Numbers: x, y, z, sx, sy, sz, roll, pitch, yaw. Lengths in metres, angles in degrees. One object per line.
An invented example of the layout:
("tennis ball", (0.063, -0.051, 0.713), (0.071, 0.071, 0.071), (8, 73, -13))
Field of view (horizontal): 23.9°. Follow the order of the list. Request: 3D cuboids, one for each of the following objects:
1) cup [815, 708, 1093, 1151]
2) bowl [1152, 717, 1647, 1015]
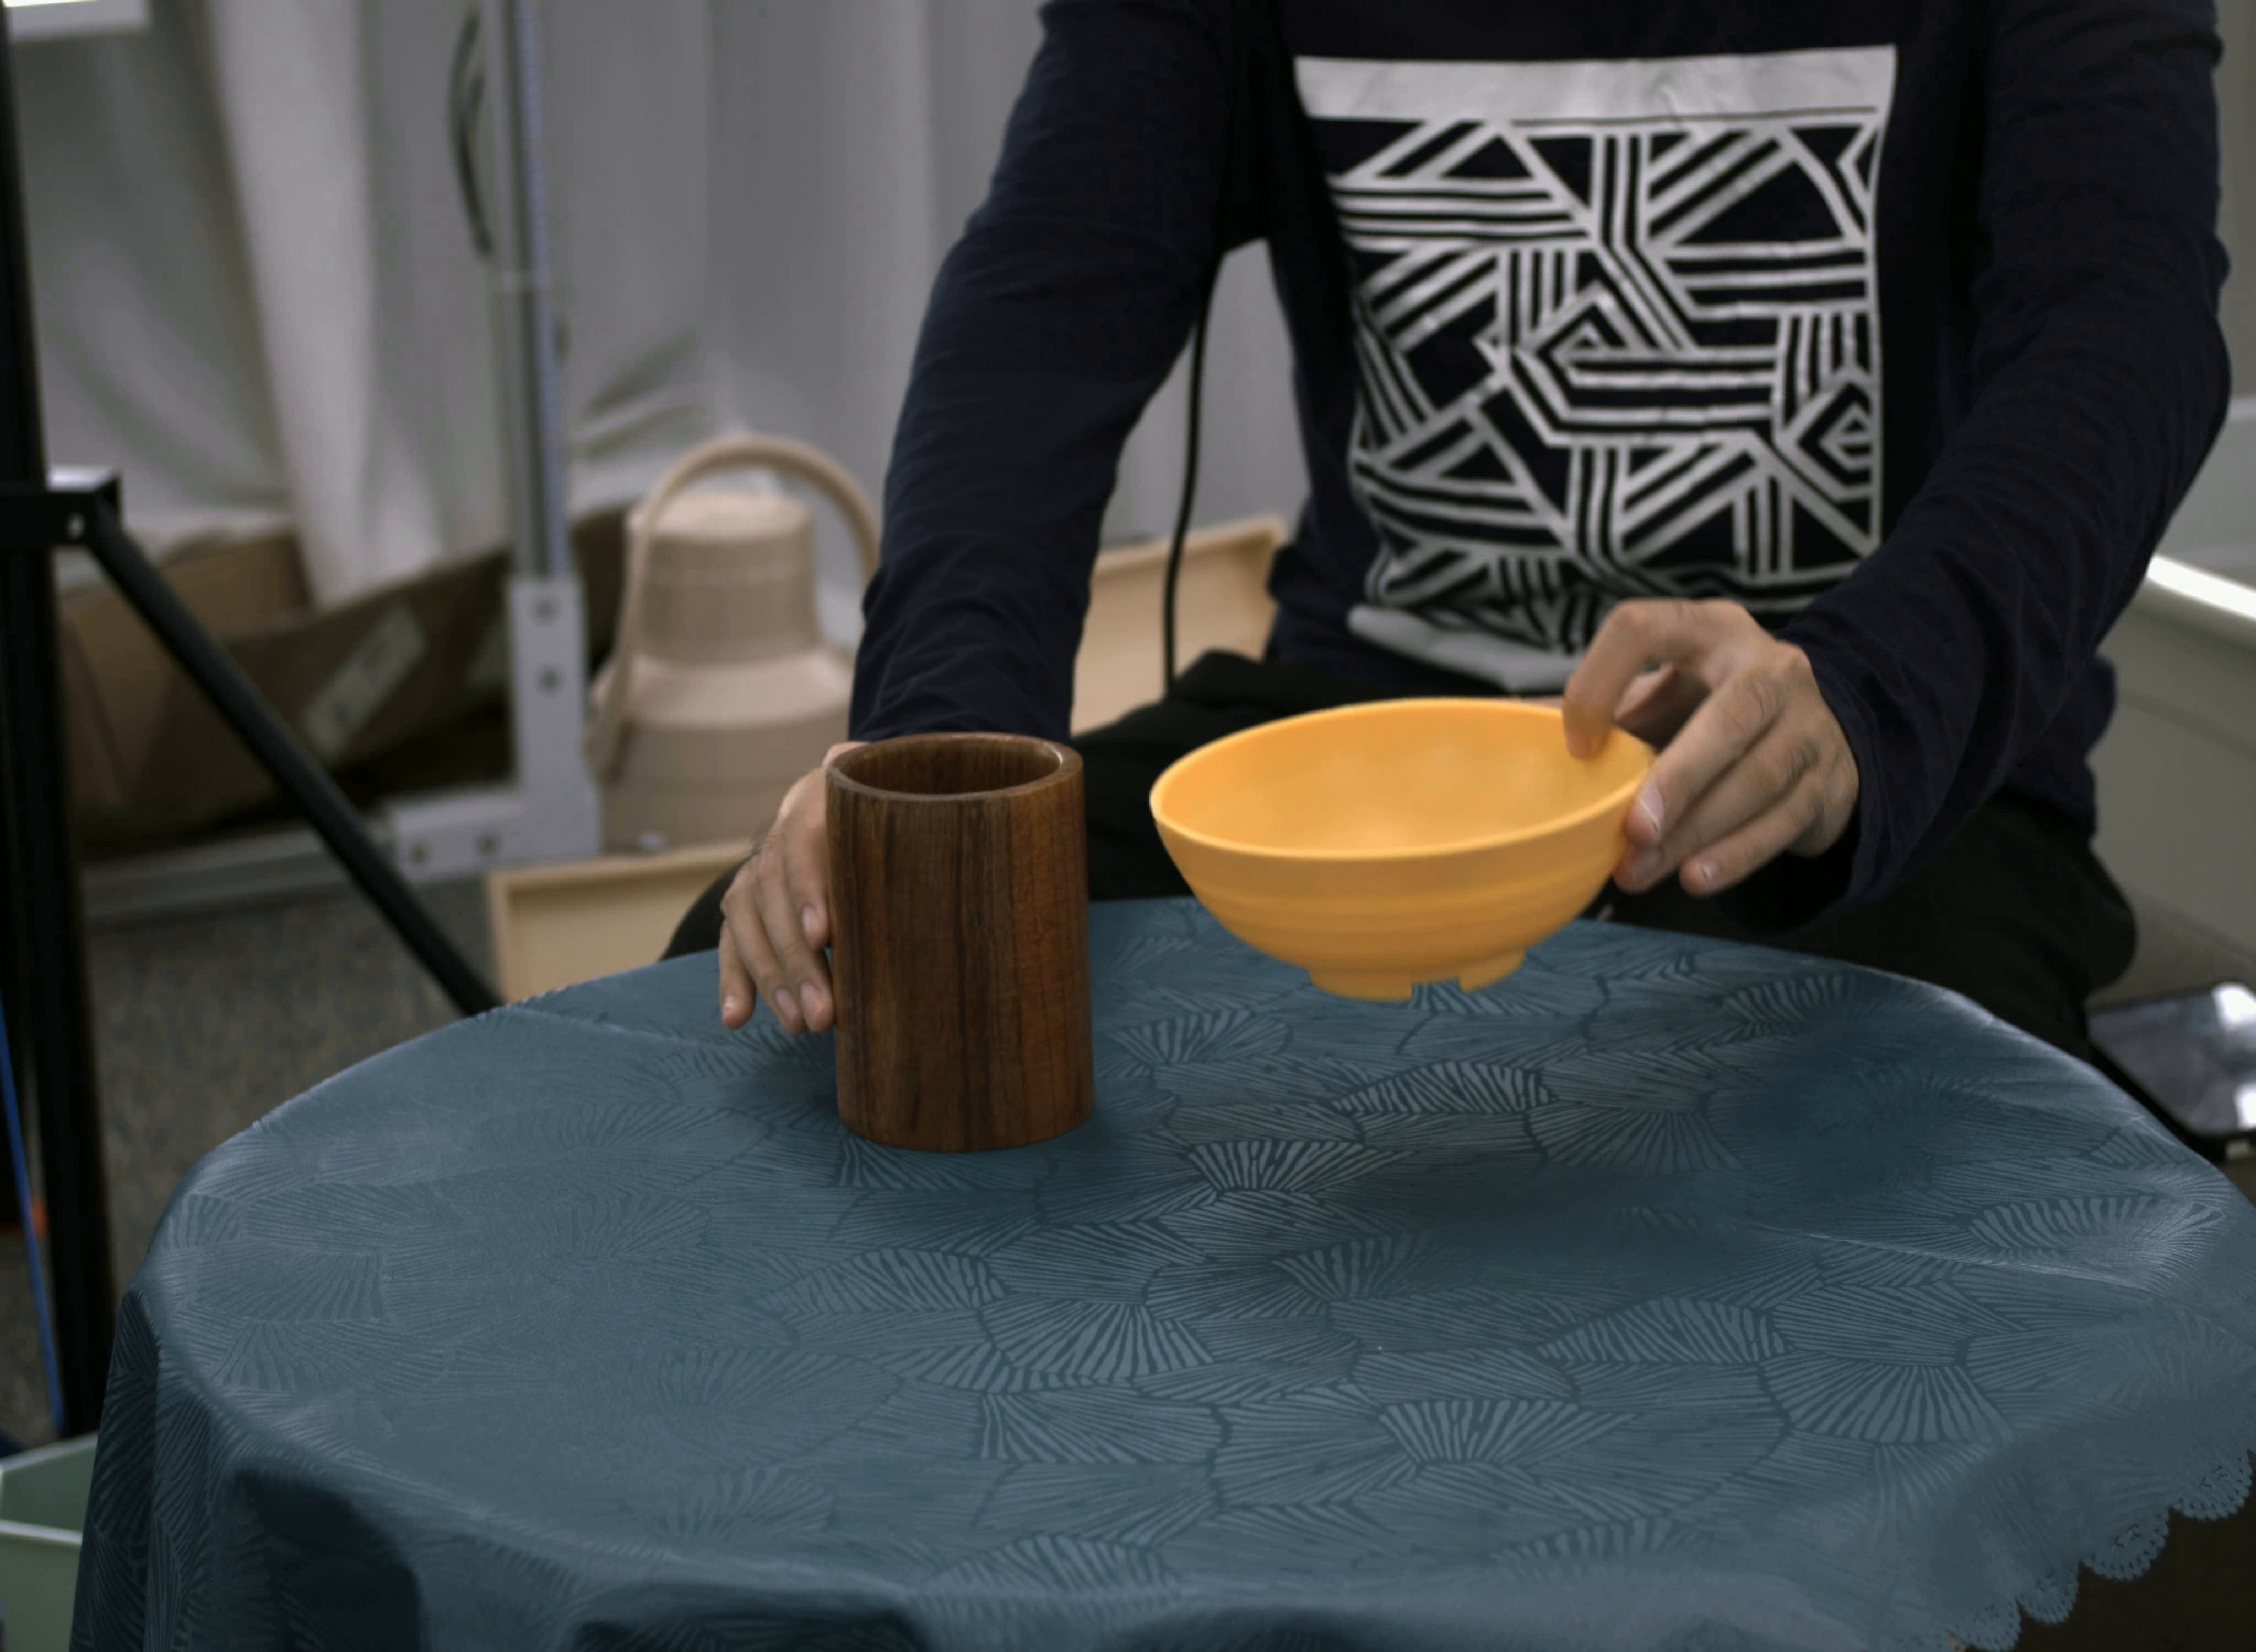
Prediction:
("cup", (-0.056, 0.031, 1.627), (0.087, 0.118, 0.088), (1, 16, -2))
("bowl", (0.081, 0.017, 1.553), (0.144, 0.060, 0.146), (-4, 17, 0))
